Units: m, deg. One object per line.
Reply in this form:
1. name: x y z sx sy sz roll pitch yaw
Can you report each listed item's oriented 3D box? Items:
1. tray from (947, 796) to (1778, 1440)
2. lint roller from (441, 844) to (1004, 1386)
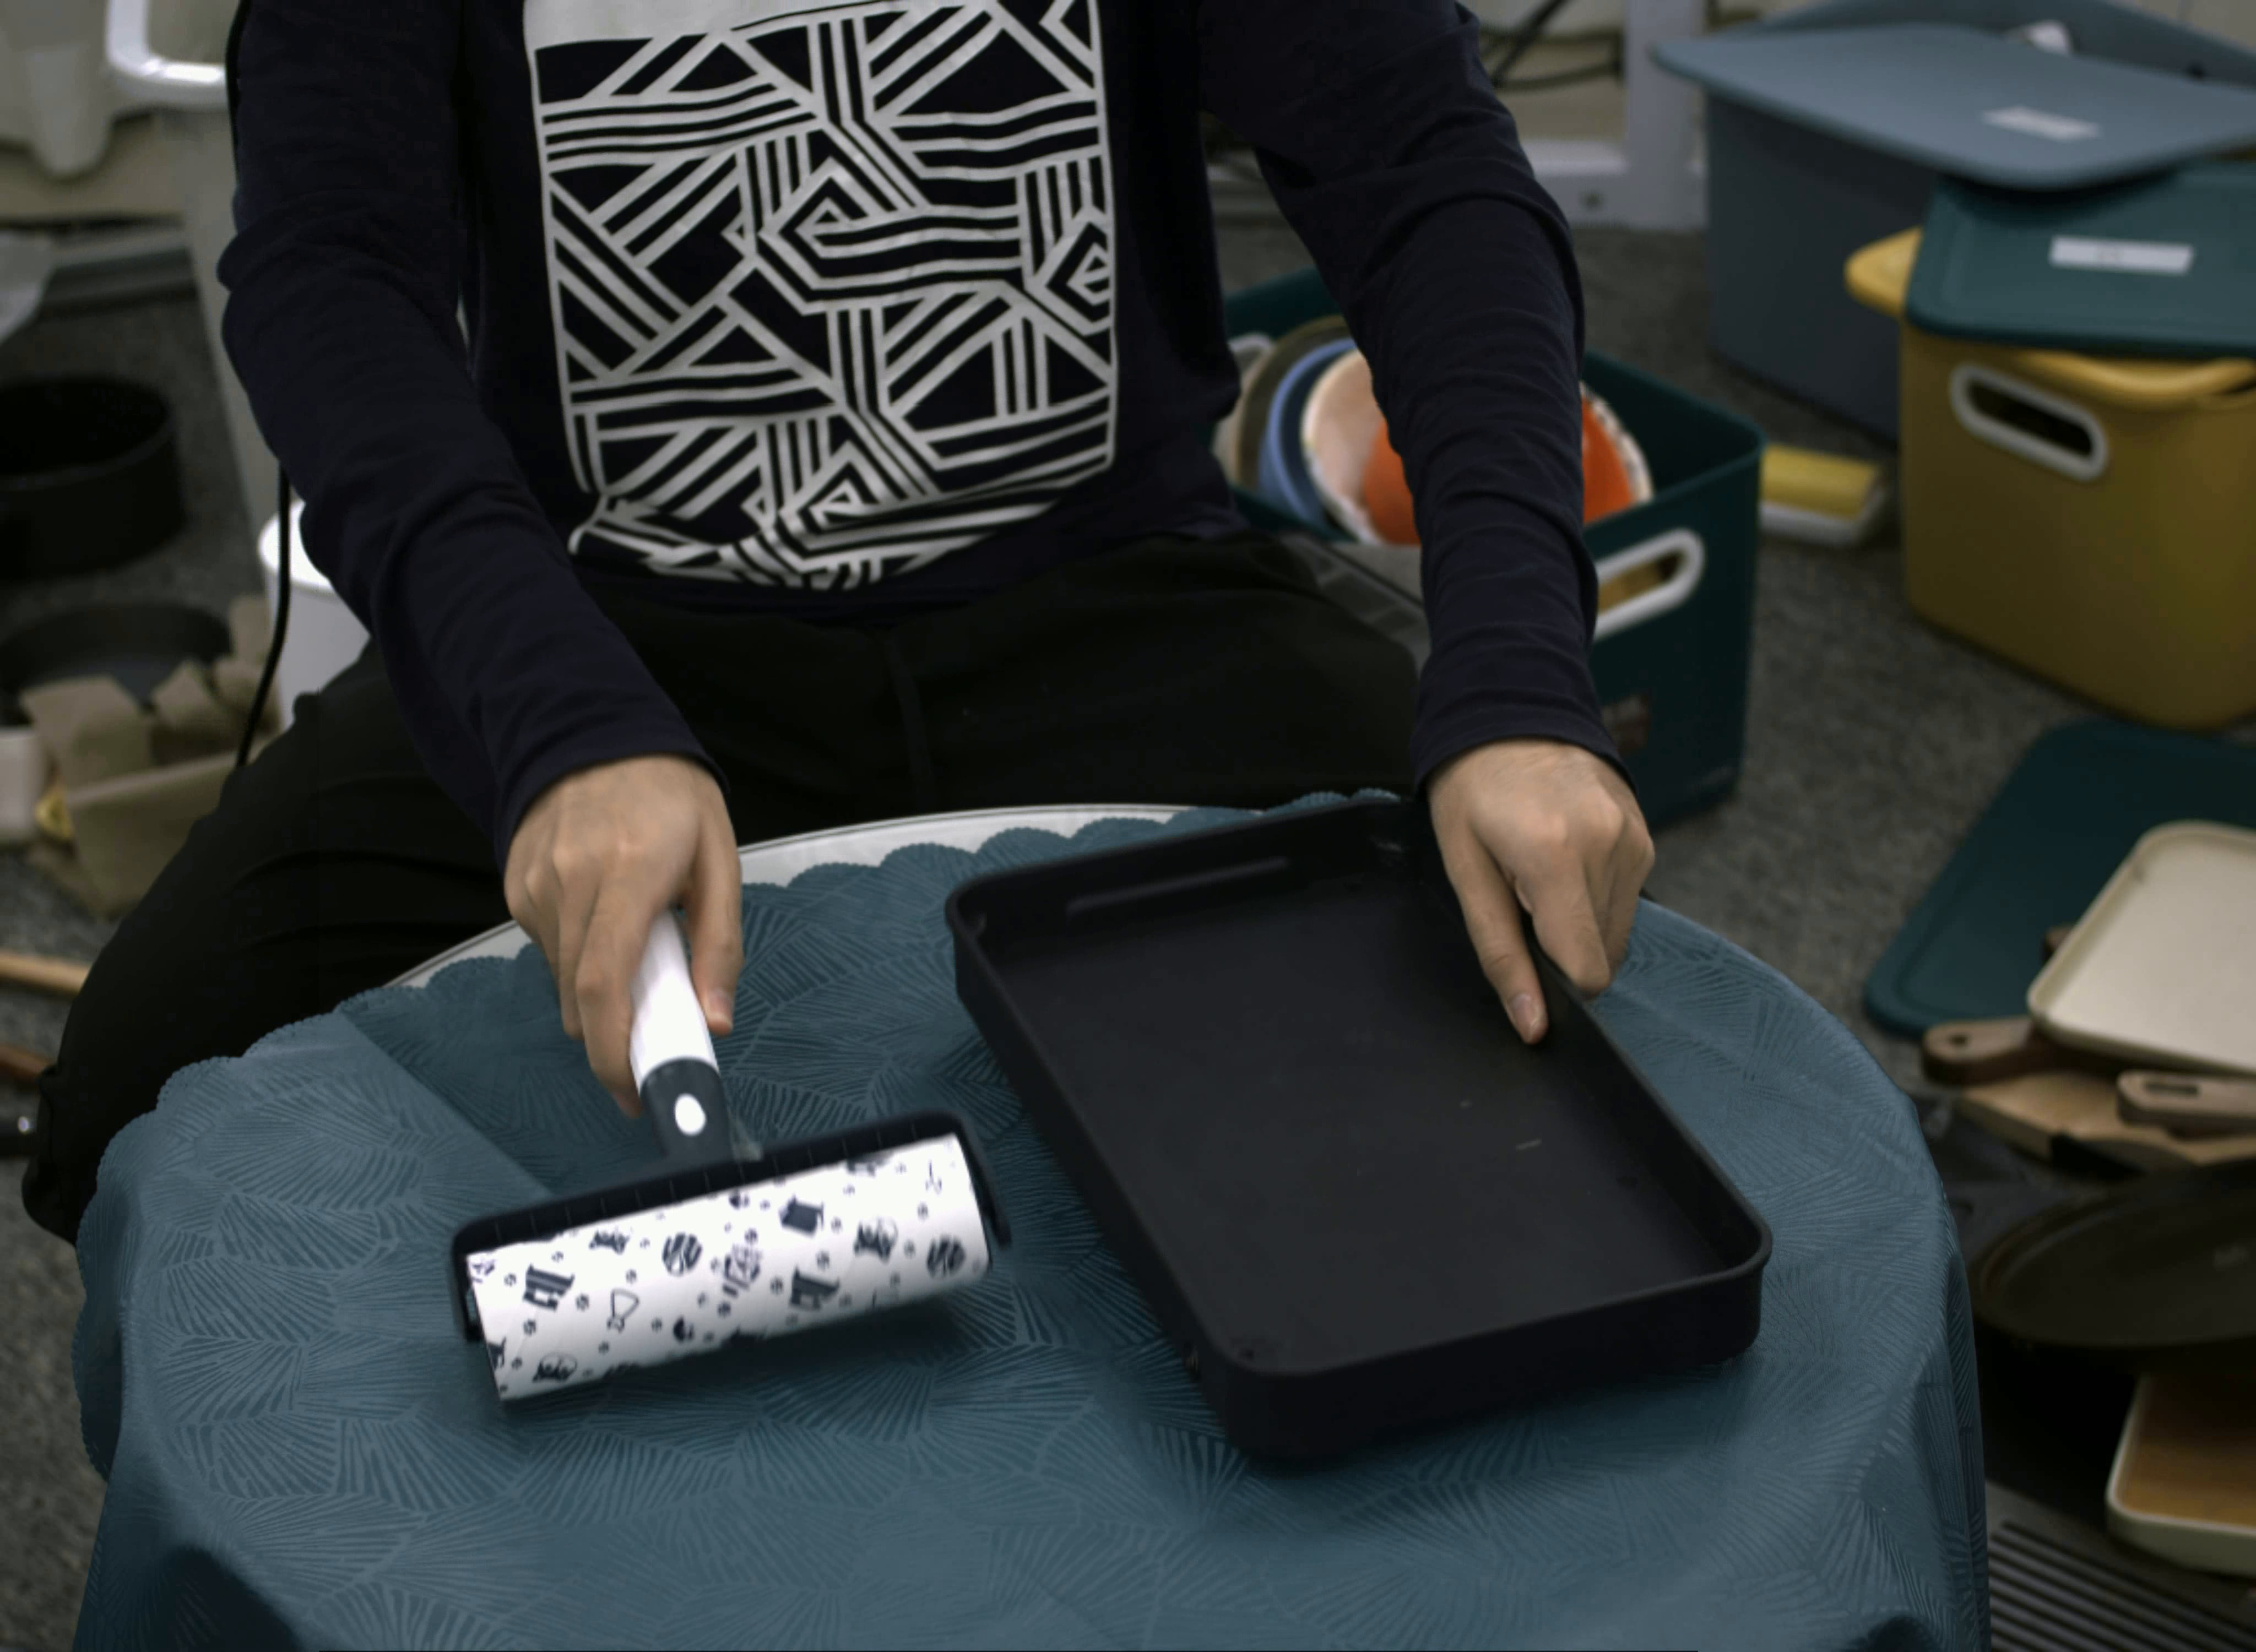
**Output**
1. tray: 0.069 0.089 1.843 0.184 0.036 0.321 -9 30 -17
2. lint roller: -0.151 0.076 1.846 0.176 0.050 0.250 -15 38 -7
